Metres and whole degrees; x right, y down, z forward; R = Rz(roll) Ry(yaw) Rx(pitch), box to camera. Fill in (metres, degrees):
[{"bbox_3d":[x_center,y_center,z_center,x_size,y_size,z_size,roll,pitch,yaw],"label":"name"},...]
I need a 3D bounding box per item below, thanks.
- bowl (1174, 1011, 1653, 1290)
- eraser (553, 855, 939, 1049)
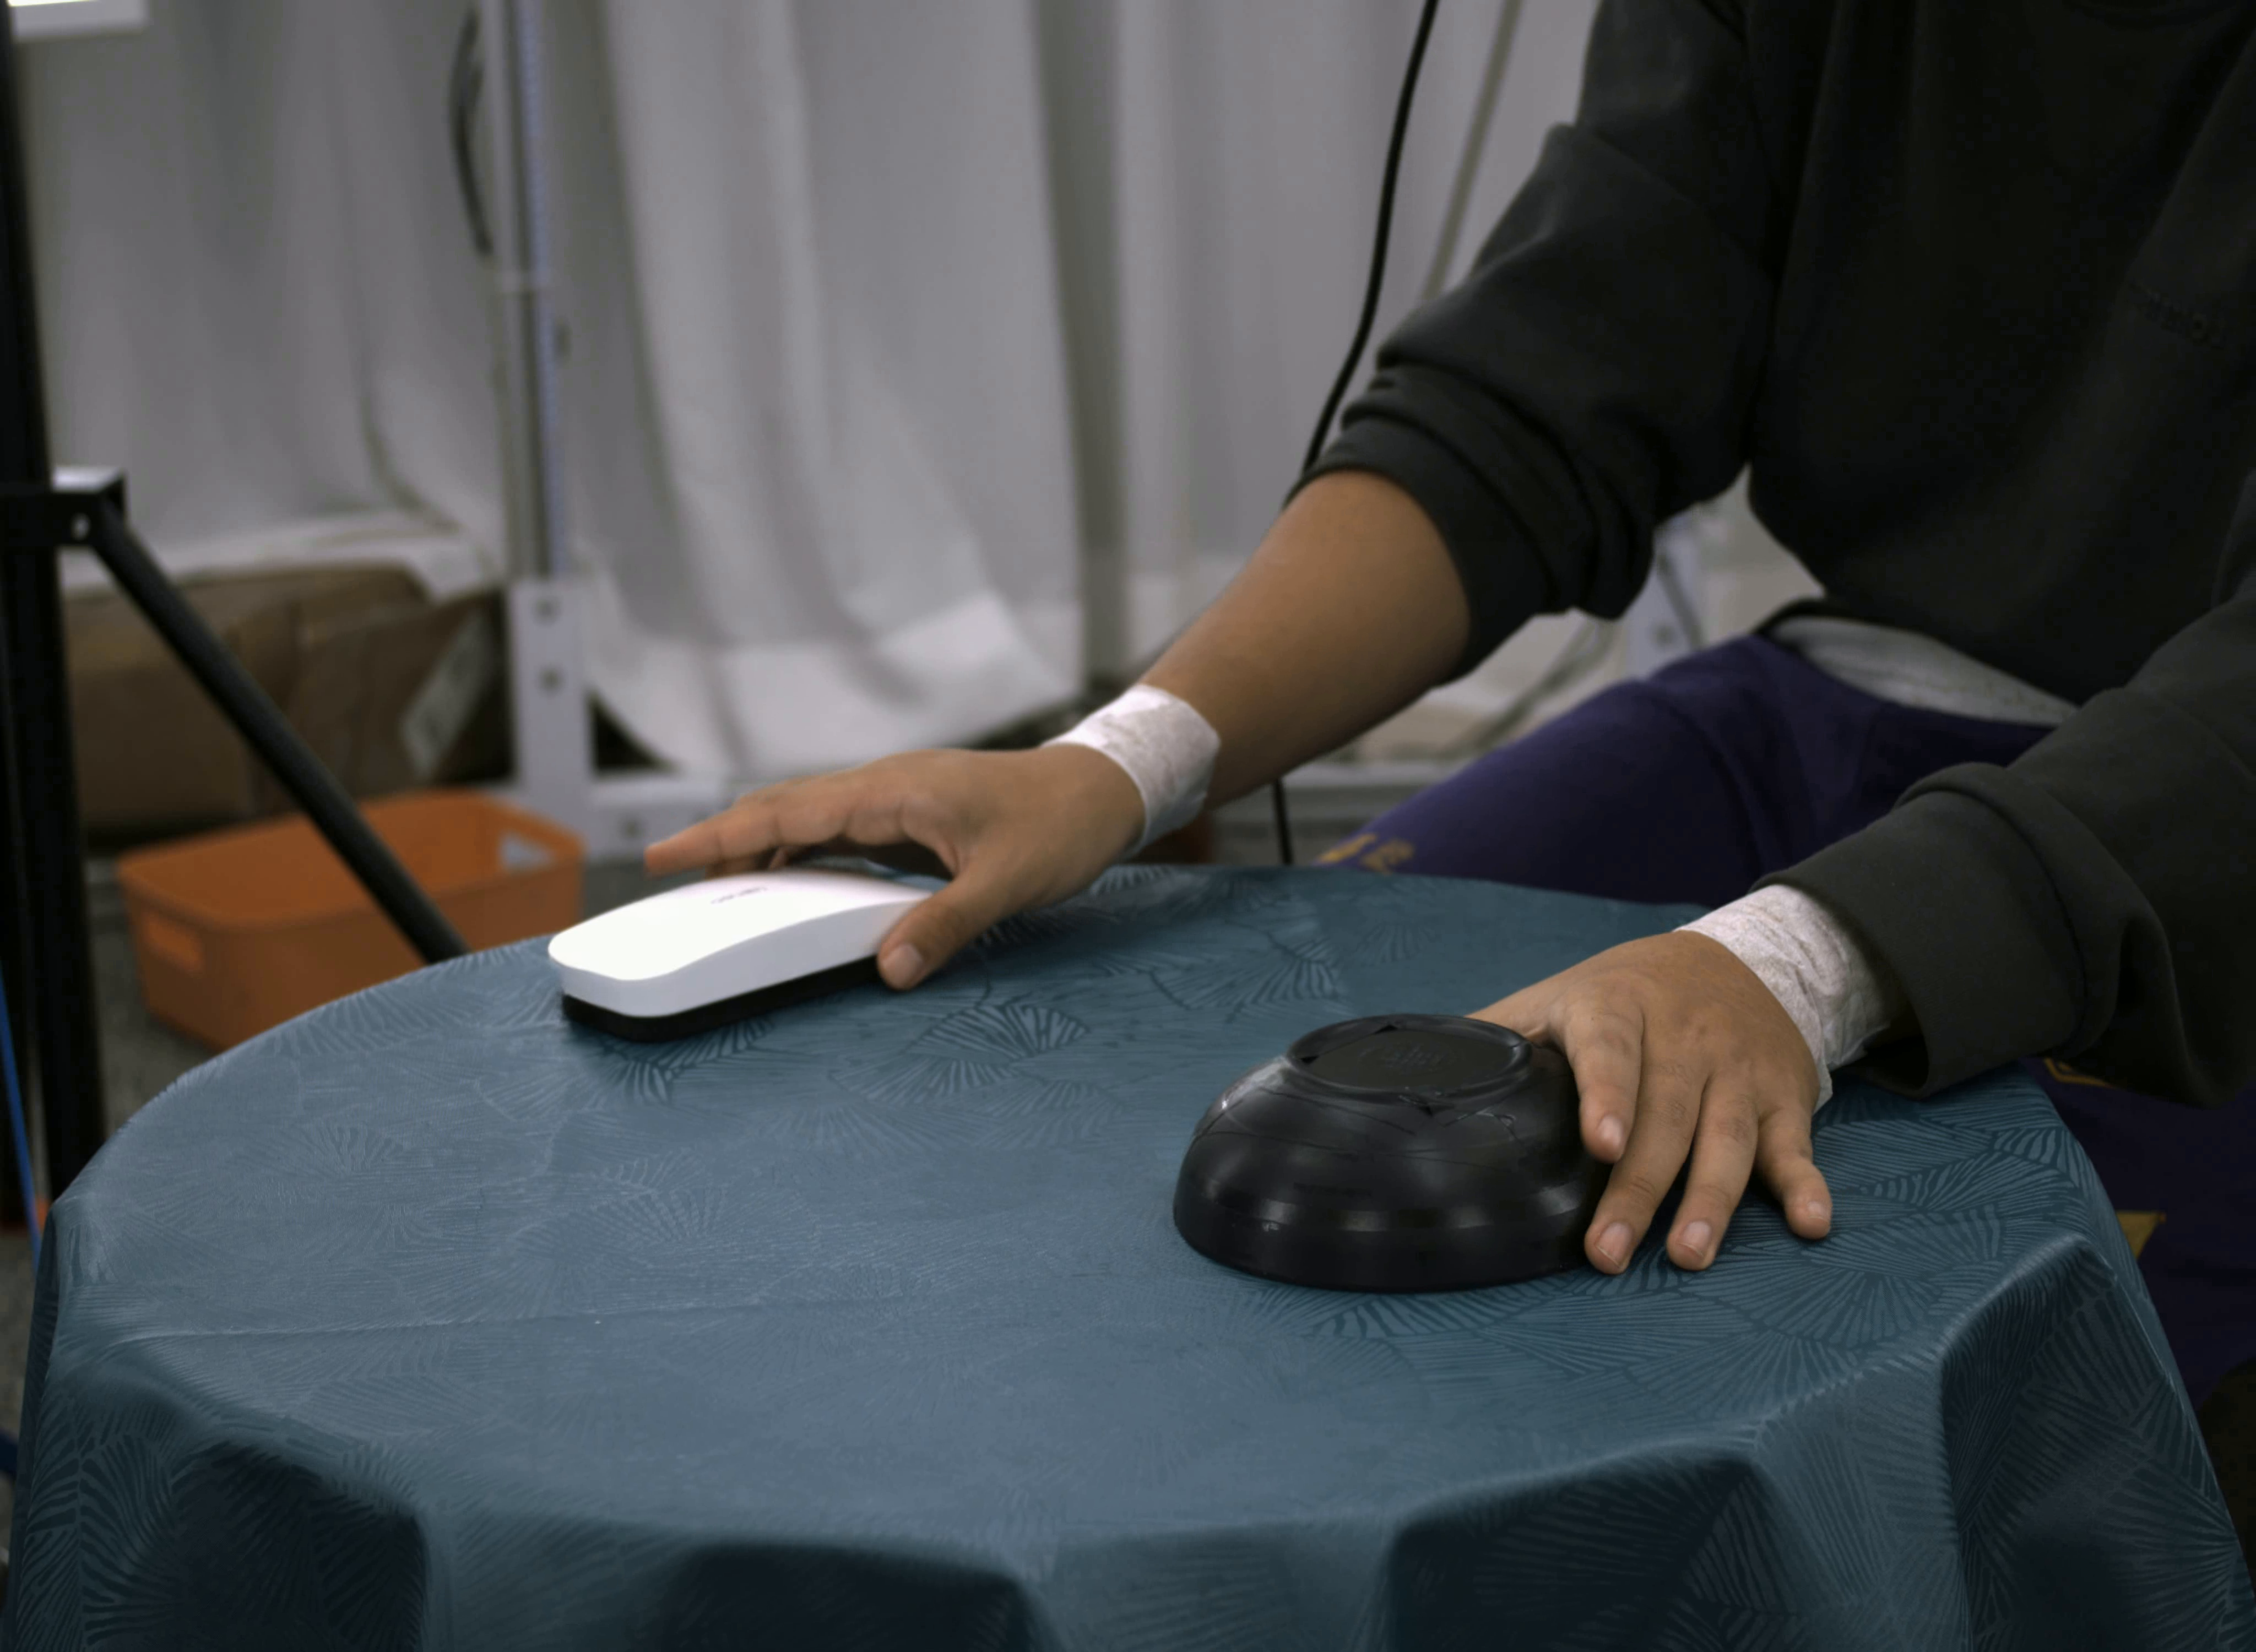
[{"bbox_3d":[0.081,0.087,1.527,0.139,0.050,0.141,-4,16,0],"label":"bowl"},{"bbox_3d":[-0.125,0.039,1.767,0.128,0.034,0.065,-17,23,-36],"label":"eraser"}]
